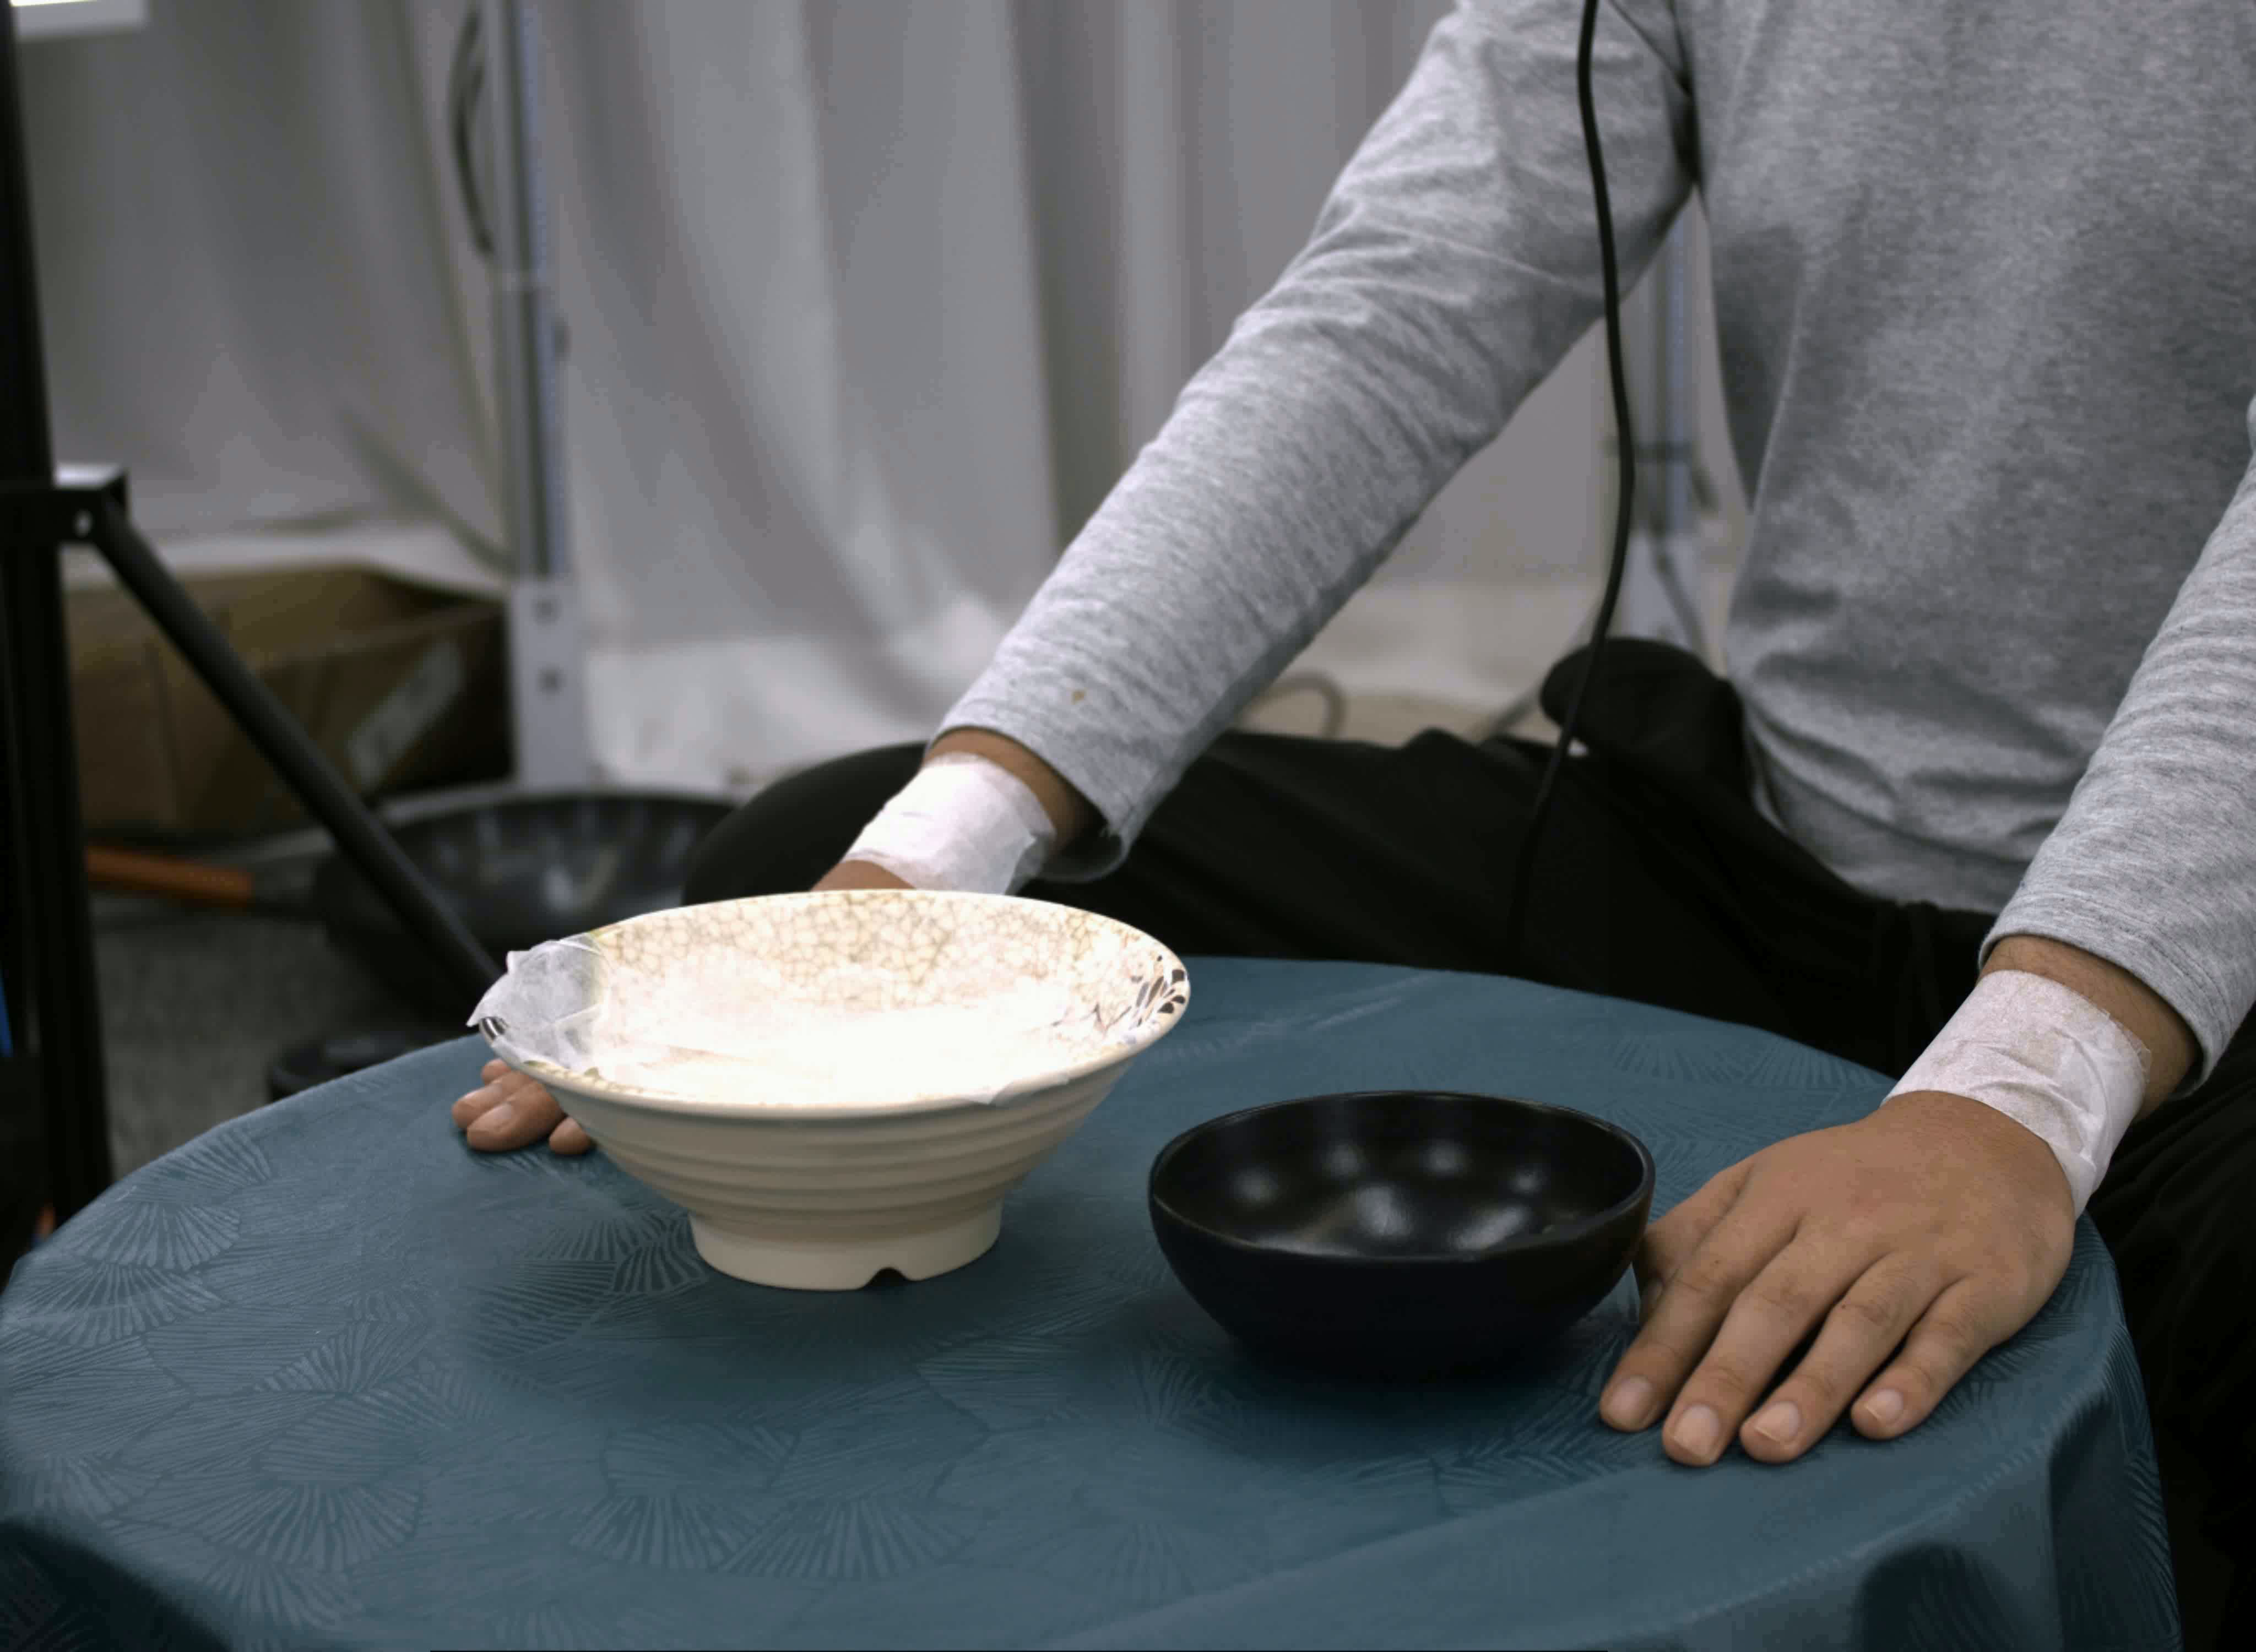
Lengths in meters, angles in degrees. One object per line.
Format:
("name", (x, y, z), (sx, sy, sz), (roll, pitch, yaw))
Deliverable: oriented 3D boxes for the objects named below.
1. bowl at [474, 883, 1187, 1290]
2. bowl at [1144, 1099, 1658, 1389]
("bowl", (-0.084, 0.082, 1.525), (0.203, 0.078, 0.205), (-1, 15, -1))
("bowl", (0.073, 0.118, 1.433), (0.139, 0.050, 0.140), (1, 14, -2))
